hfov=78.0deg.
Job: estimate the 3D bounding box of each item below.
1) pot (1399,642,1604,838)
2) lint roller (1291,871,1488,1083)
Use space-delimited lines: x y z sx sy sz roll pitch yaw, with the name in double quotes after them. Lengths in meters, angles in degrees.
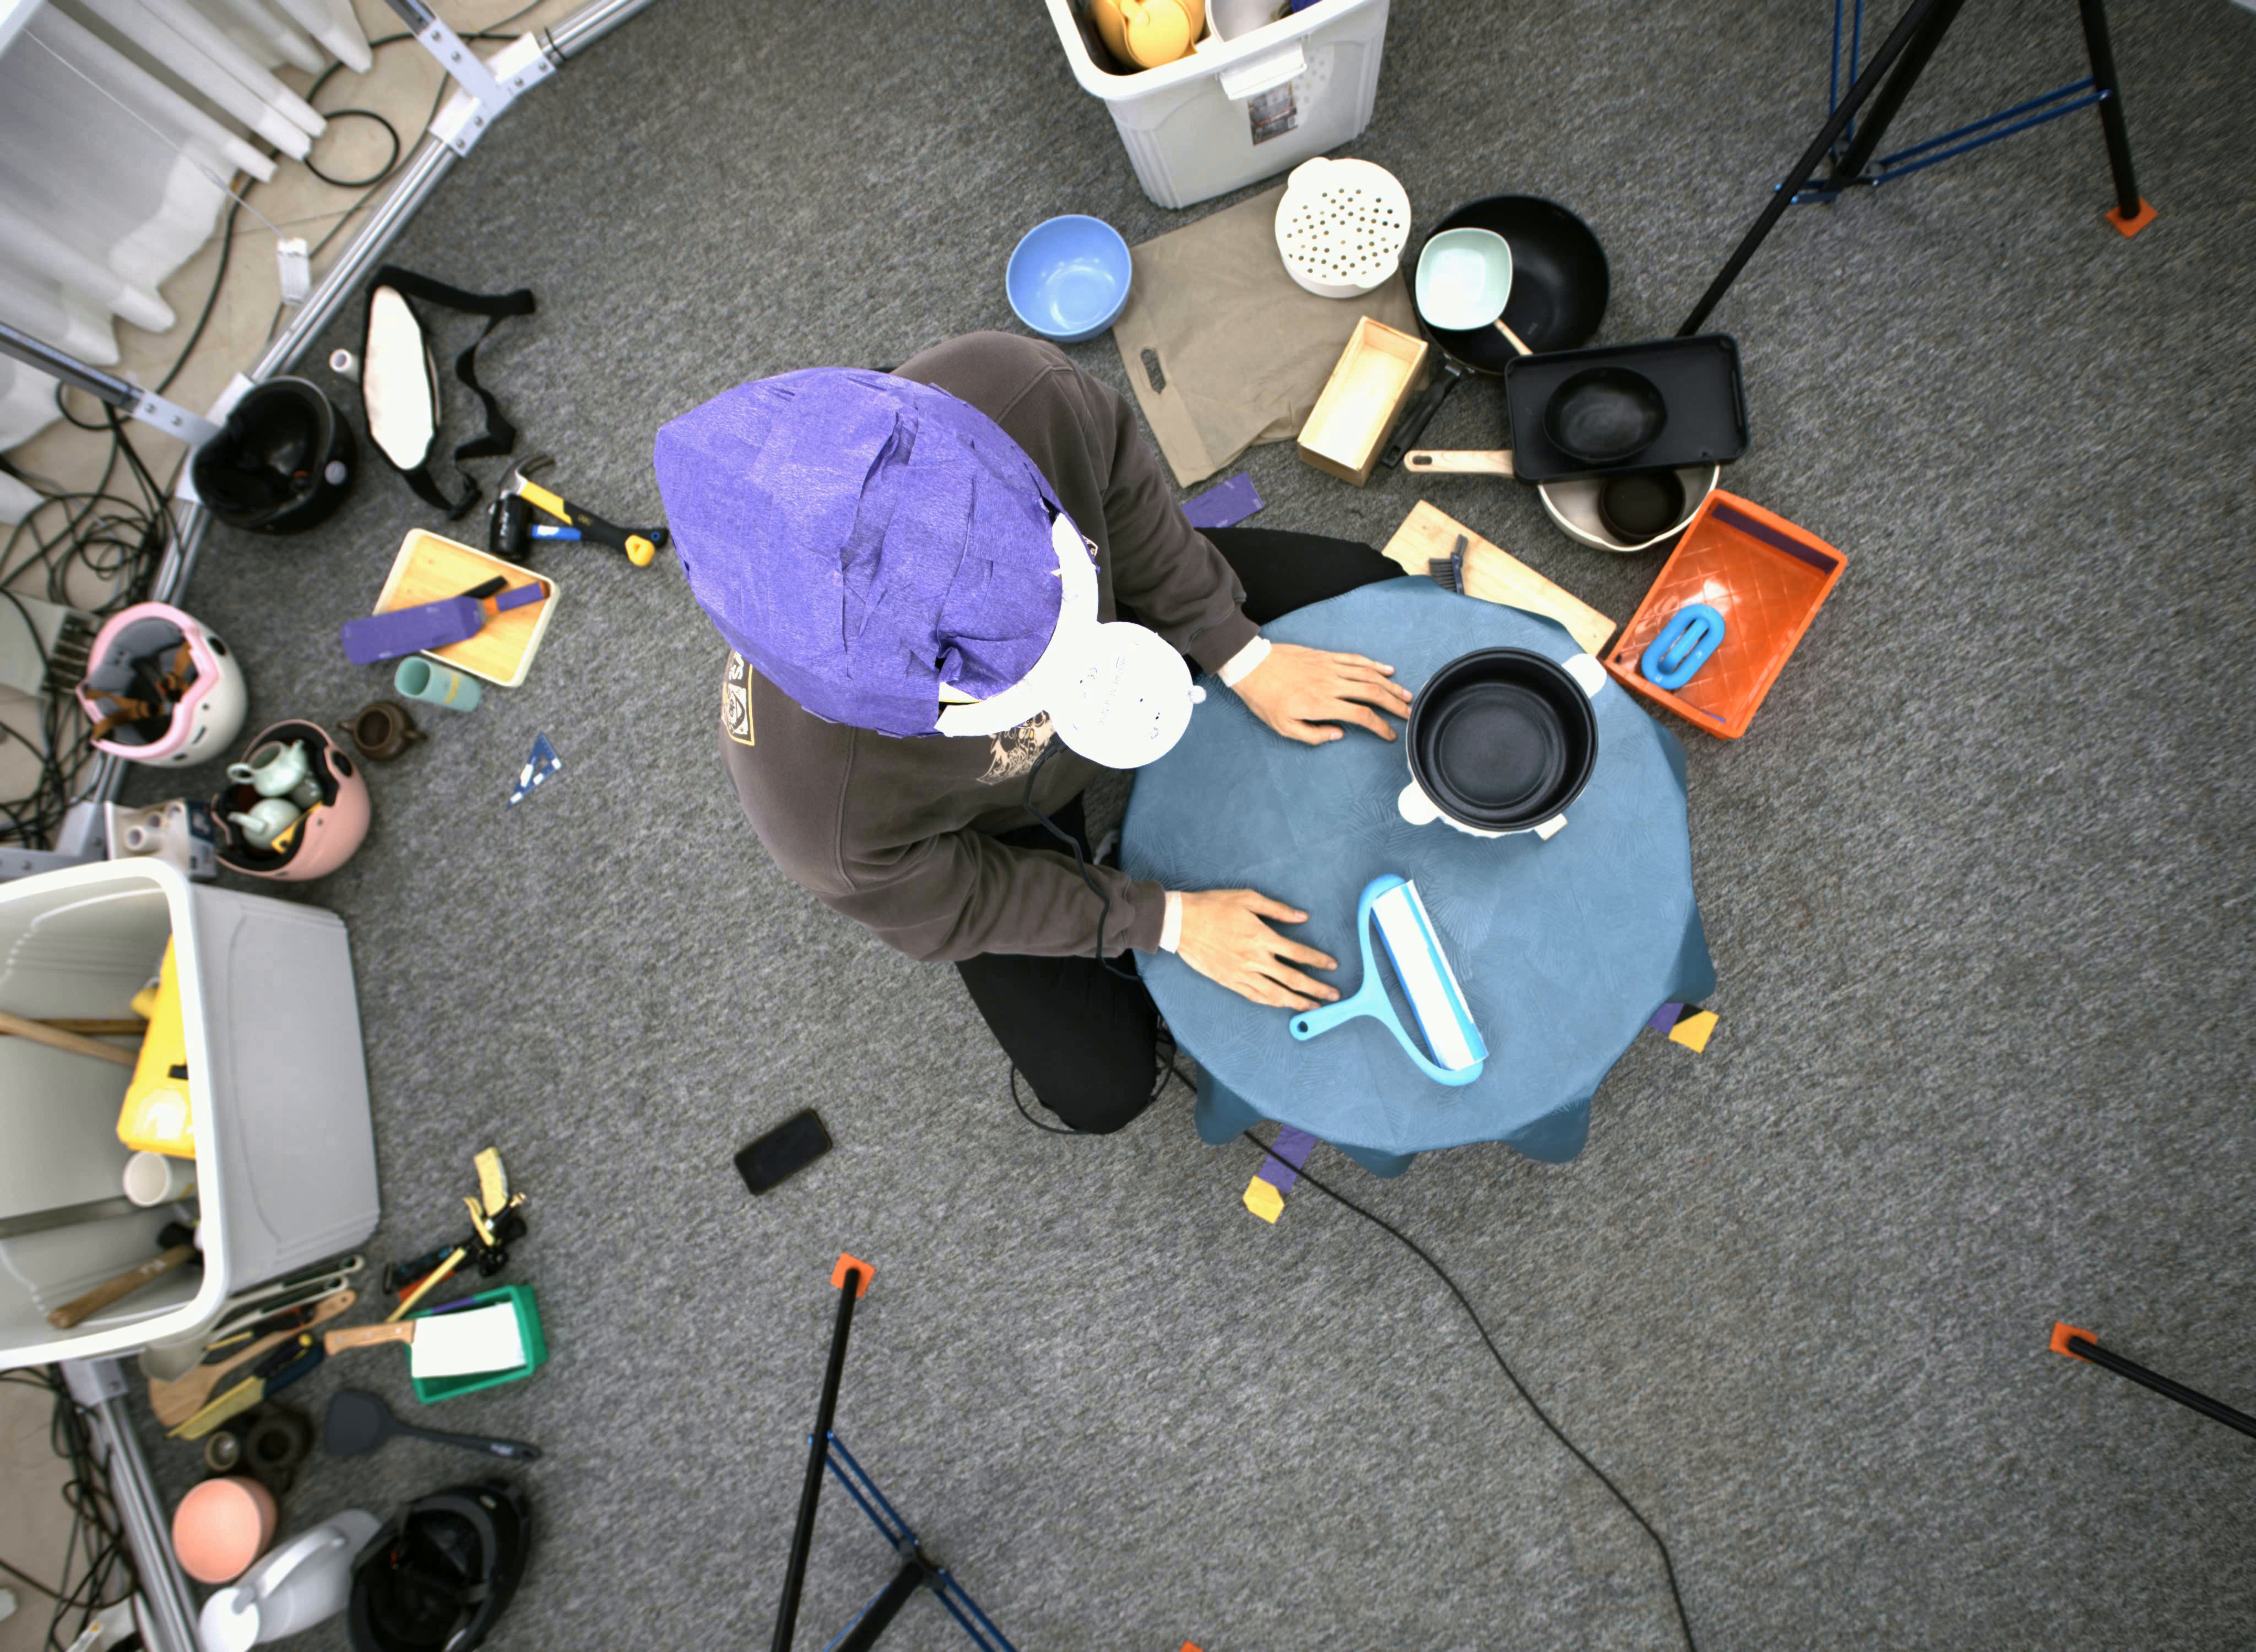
0.373 -0.078 1.375 0.242 0.143 0.189 -40 78 7 "pot"
0.253 0.178 1.426 0.181 0.068 0.228 -26 84 7 "lint roller"
